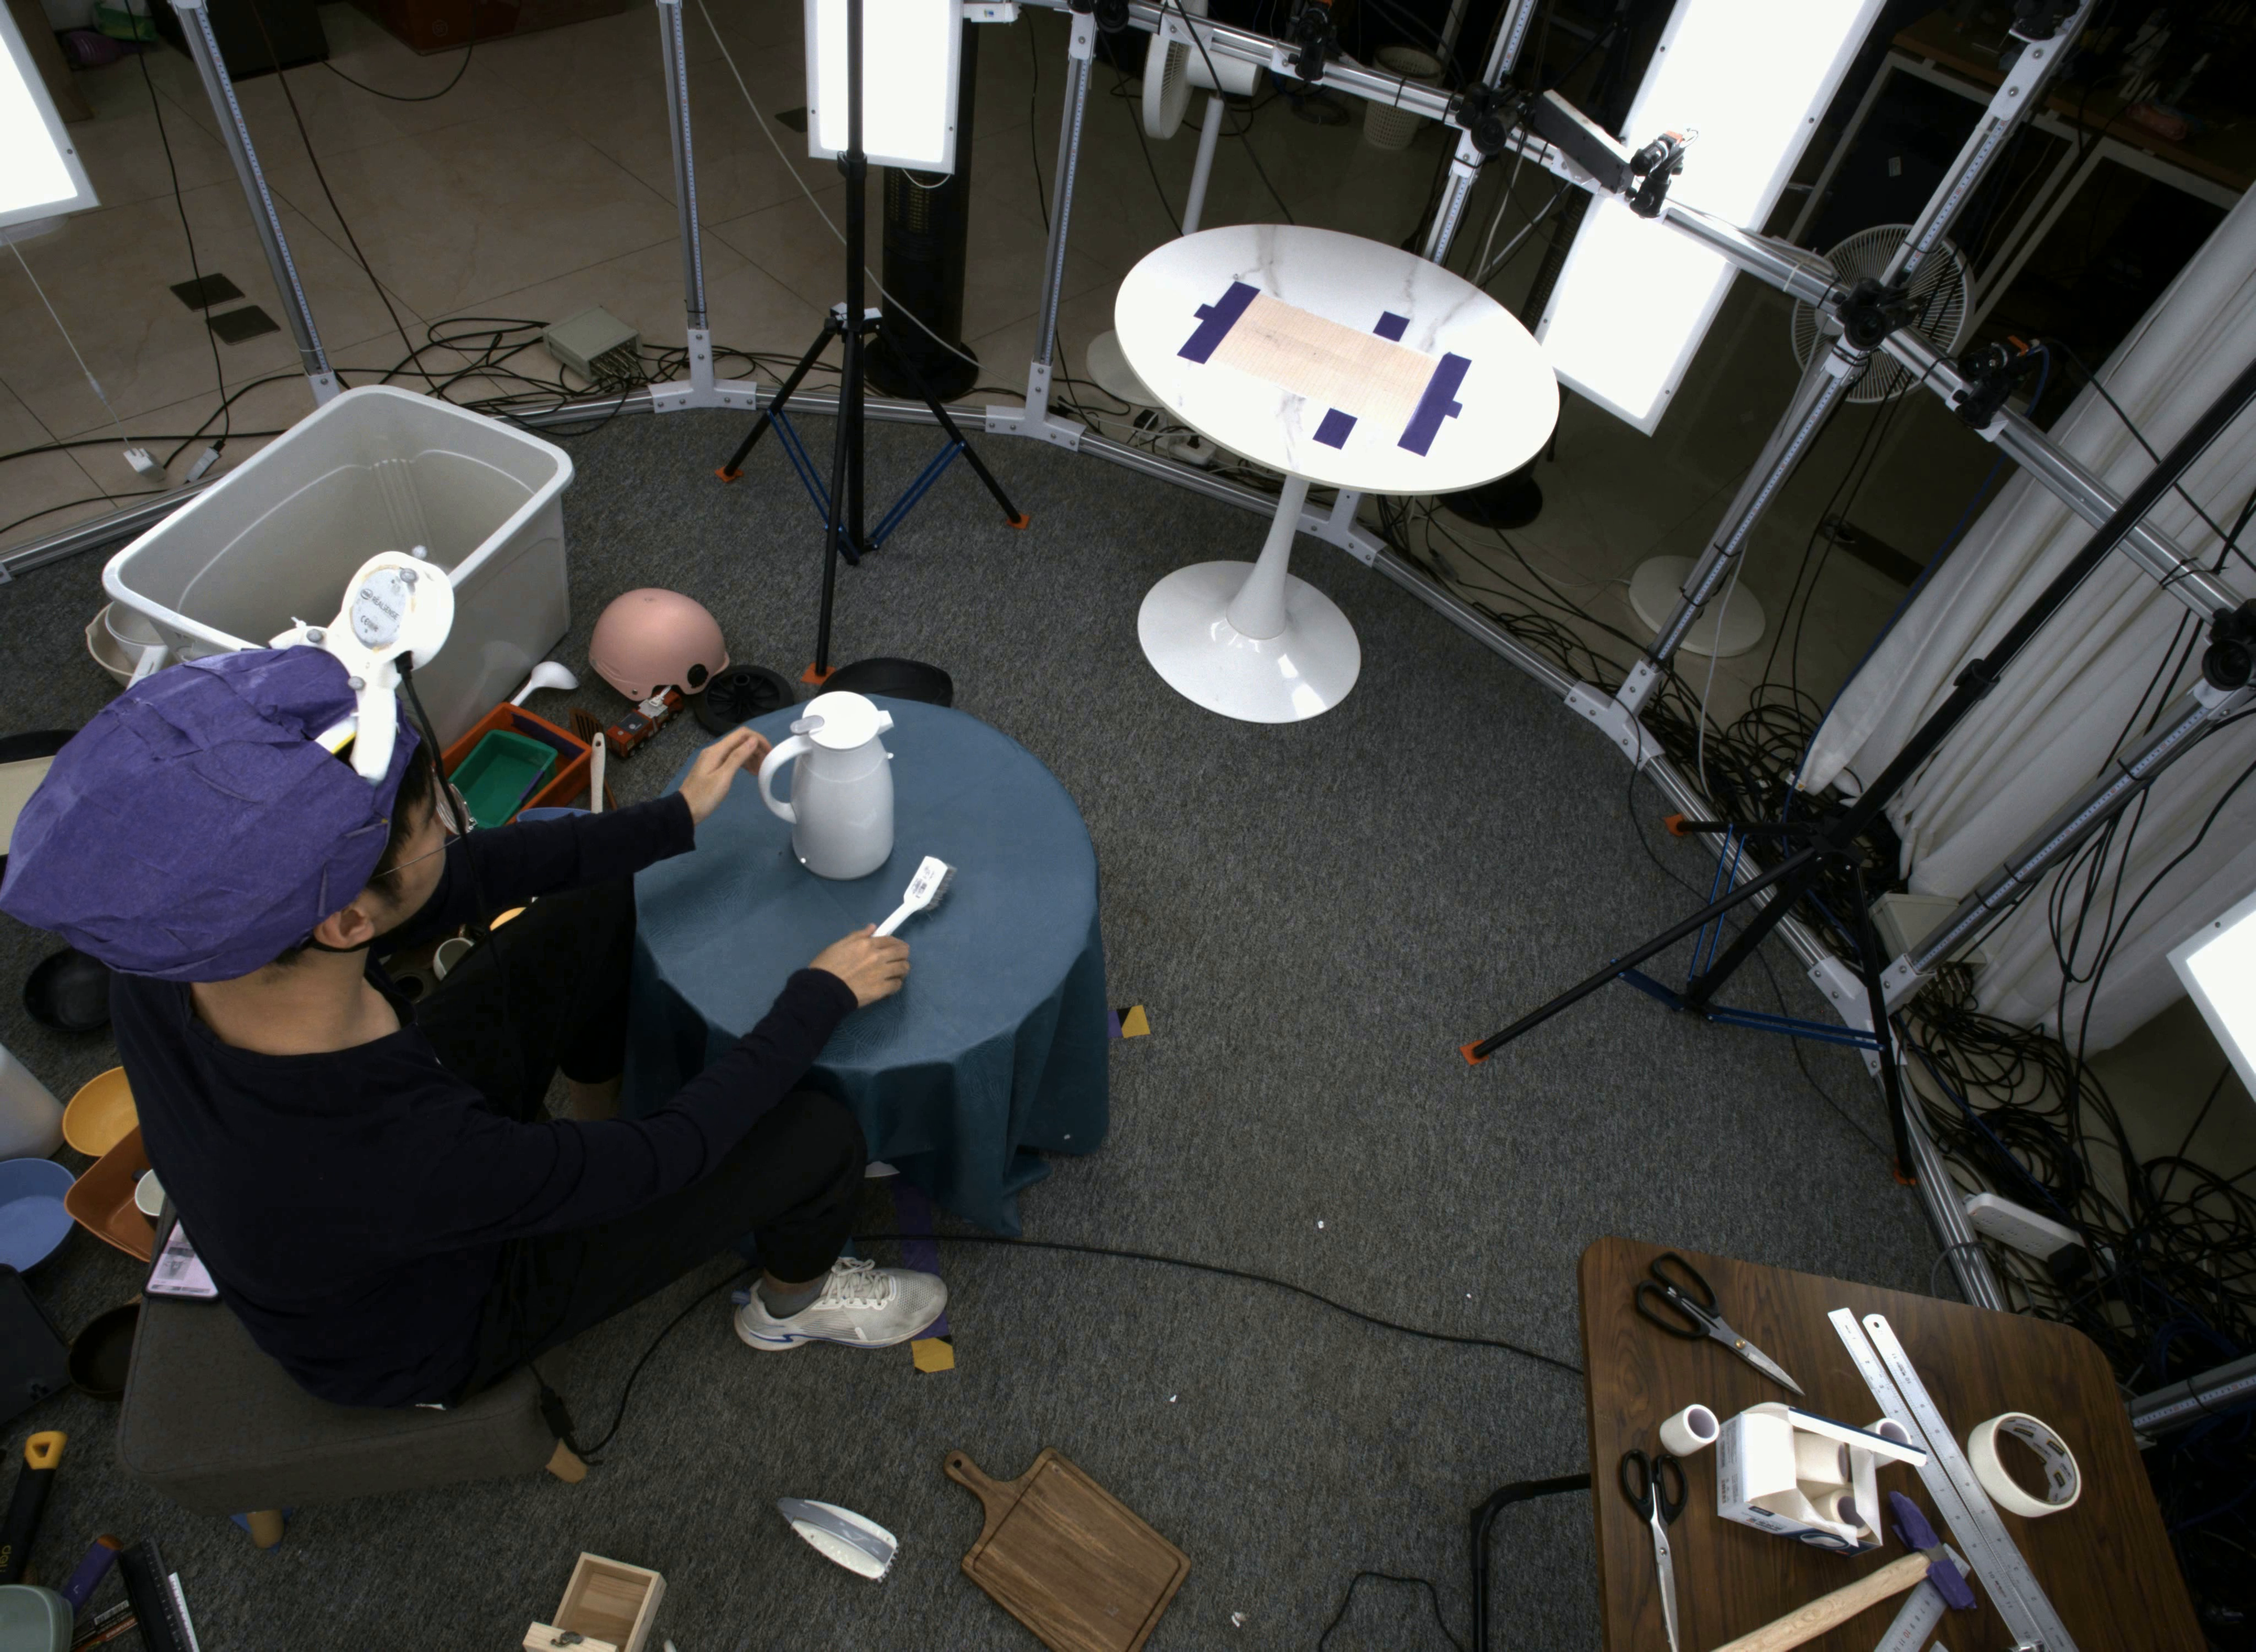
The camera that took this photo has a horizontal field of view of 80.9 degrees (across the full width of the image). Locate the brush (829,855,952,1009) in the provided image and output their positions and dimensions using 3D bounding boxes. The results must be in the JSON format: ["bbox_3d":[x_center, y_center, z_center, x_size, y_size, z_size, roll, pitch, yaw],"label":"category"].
[{"bbox_3d":[-0.297,0.135,1.636,0.033,0.052,0.243,23,62,17],"label":"brush"}]

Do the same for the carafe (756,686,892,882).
[{"bbox_3d":[-0.377,-0.053,1.616,0.168,0.254,0.129,-17,58,-23],"label":"carafe"}]
